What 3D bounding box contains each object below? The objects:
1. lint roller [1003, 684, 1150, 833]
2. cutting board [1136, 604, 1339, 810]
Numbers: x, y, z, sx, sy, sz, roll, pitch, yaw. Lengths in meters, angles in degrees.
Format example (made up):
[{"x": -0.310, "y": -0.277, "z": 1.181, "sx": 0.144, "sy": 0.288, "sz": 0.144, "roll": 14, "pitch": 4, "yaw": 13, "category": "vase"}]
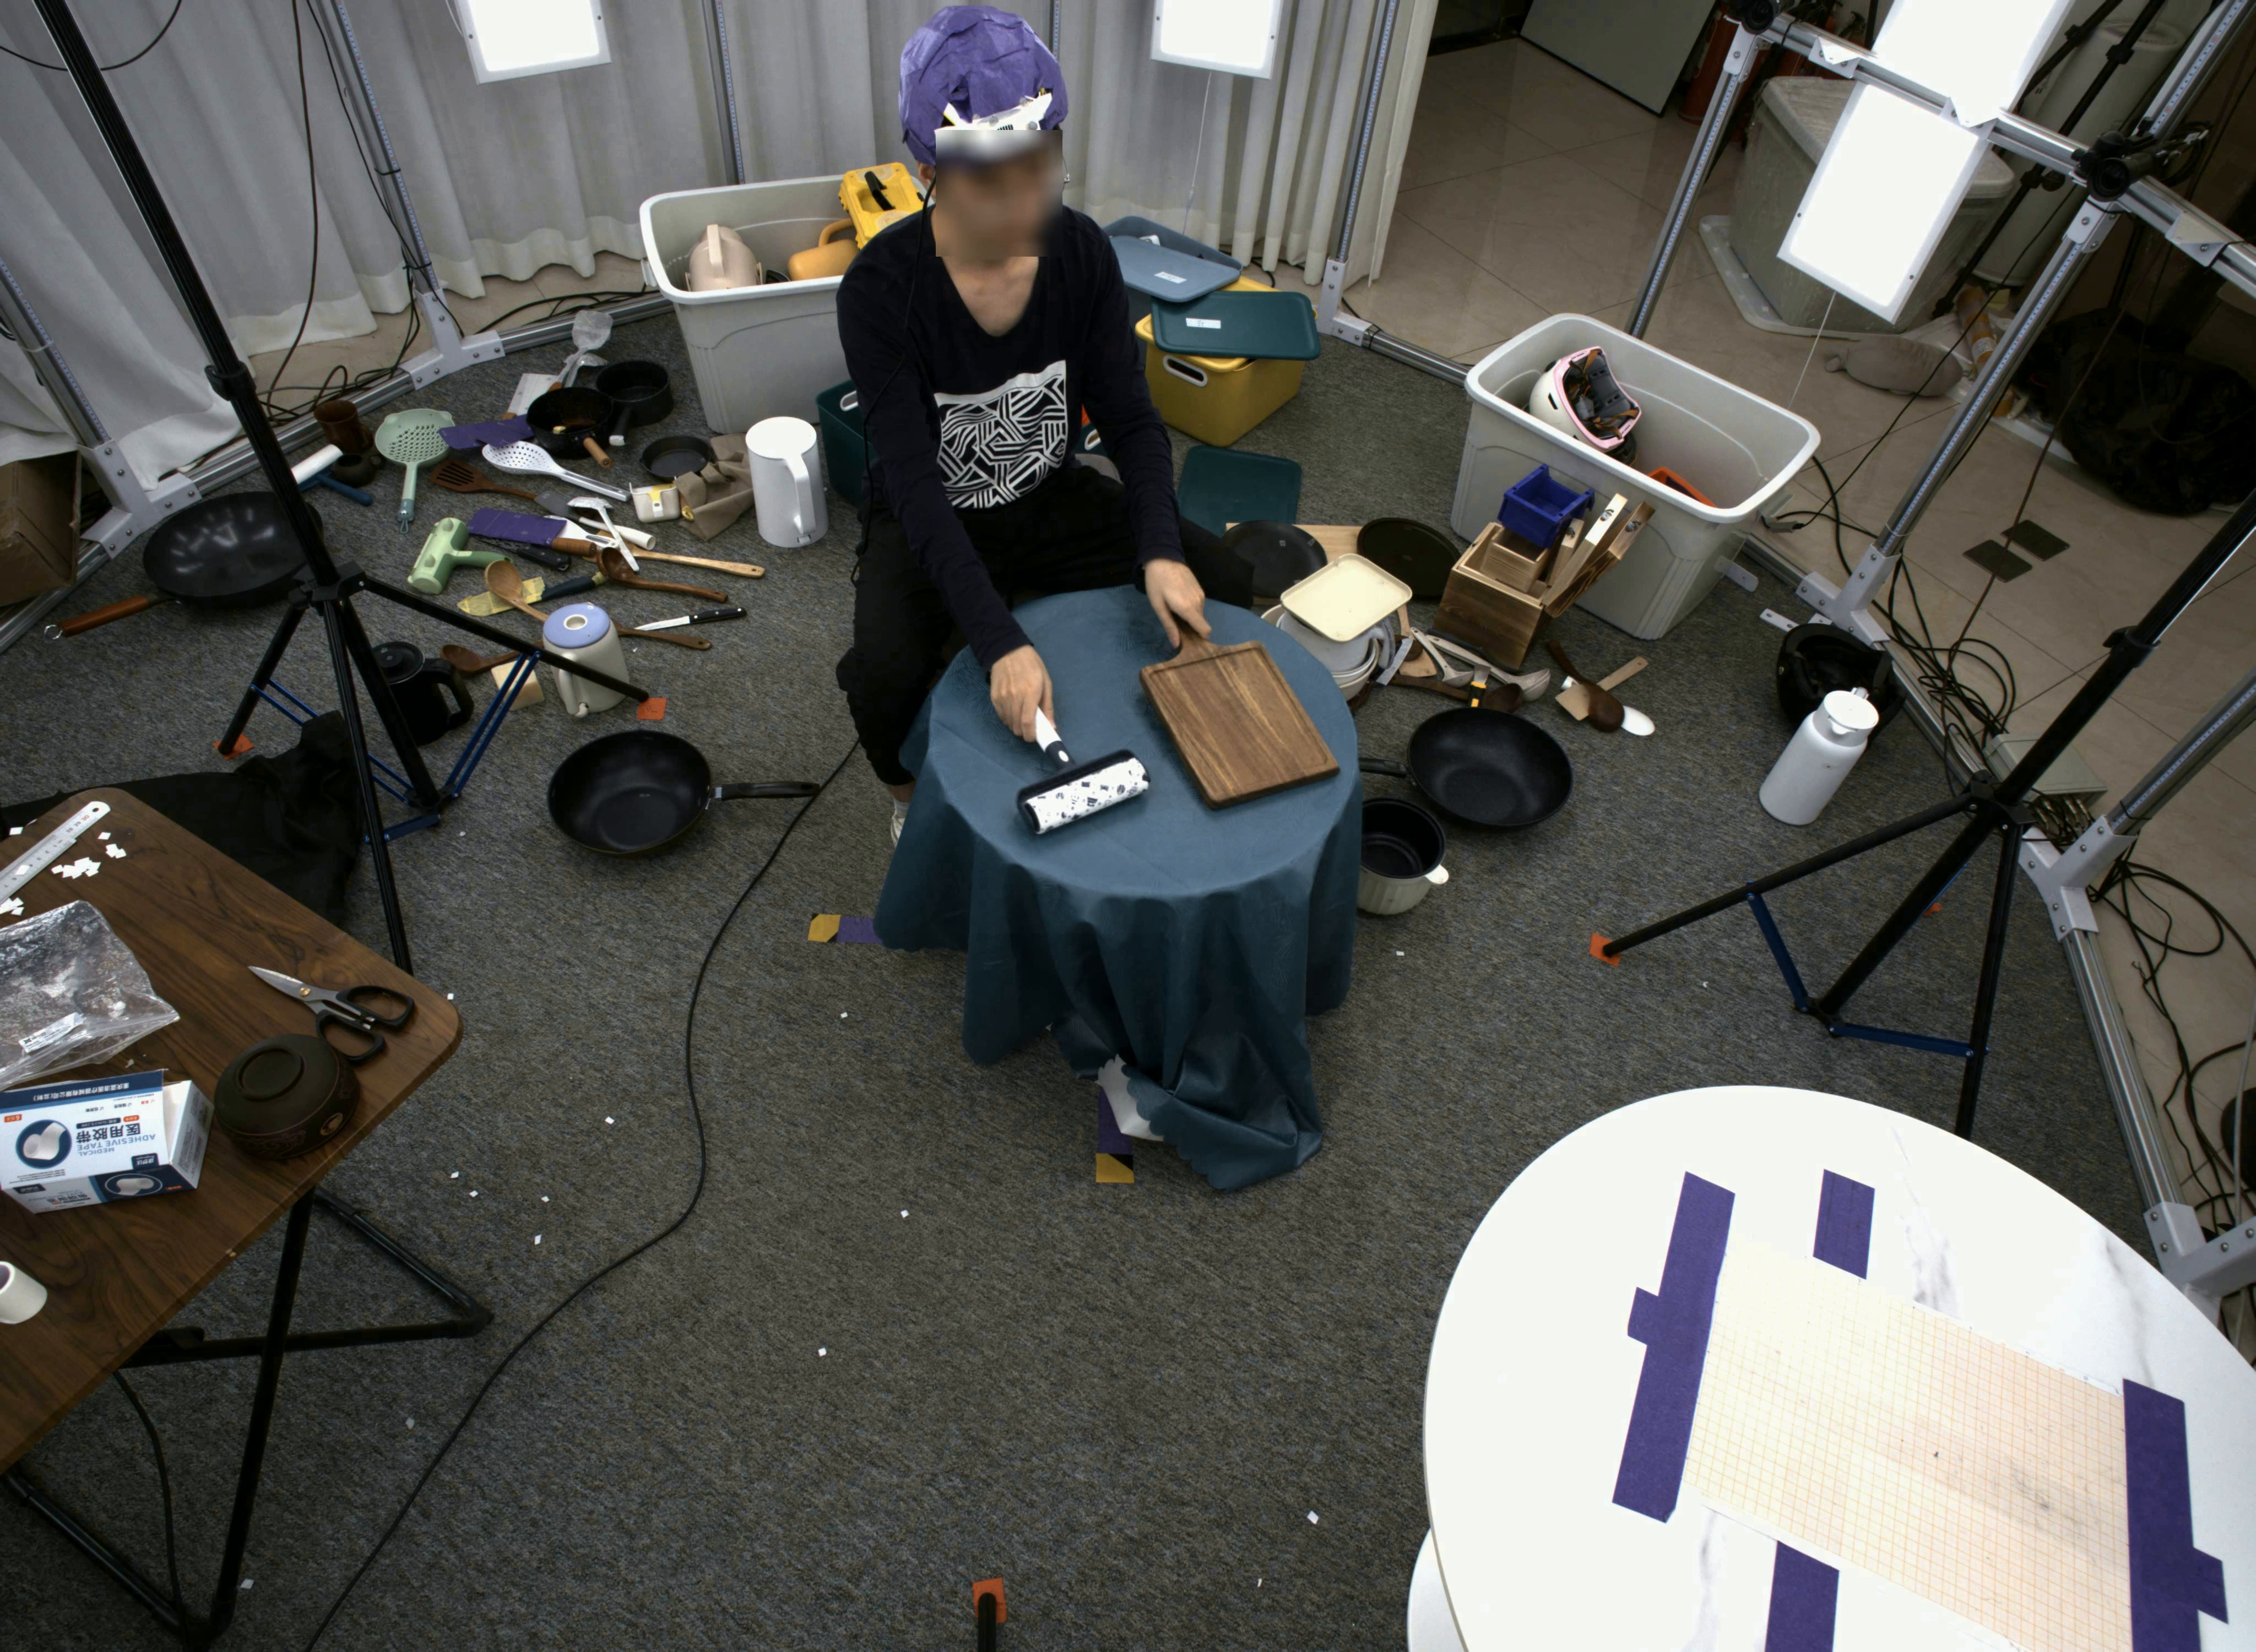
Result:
[{"x": -0.106, "y": -0.111, "z": 1.718, "sx": 0.177, "sy": 0.049, "sz": 0.252, "roll": -23, "pitch": 56, "yaw": -20, "category": "lint roller"}, {"x": 0.130, "y": -0.185, "z": 1.804, "sx": 0.201, "sy": 0.022, "sz": 0.360, "roll": -16, "pitch": 57, "yaw": -19, "category": "cutting board"}]
